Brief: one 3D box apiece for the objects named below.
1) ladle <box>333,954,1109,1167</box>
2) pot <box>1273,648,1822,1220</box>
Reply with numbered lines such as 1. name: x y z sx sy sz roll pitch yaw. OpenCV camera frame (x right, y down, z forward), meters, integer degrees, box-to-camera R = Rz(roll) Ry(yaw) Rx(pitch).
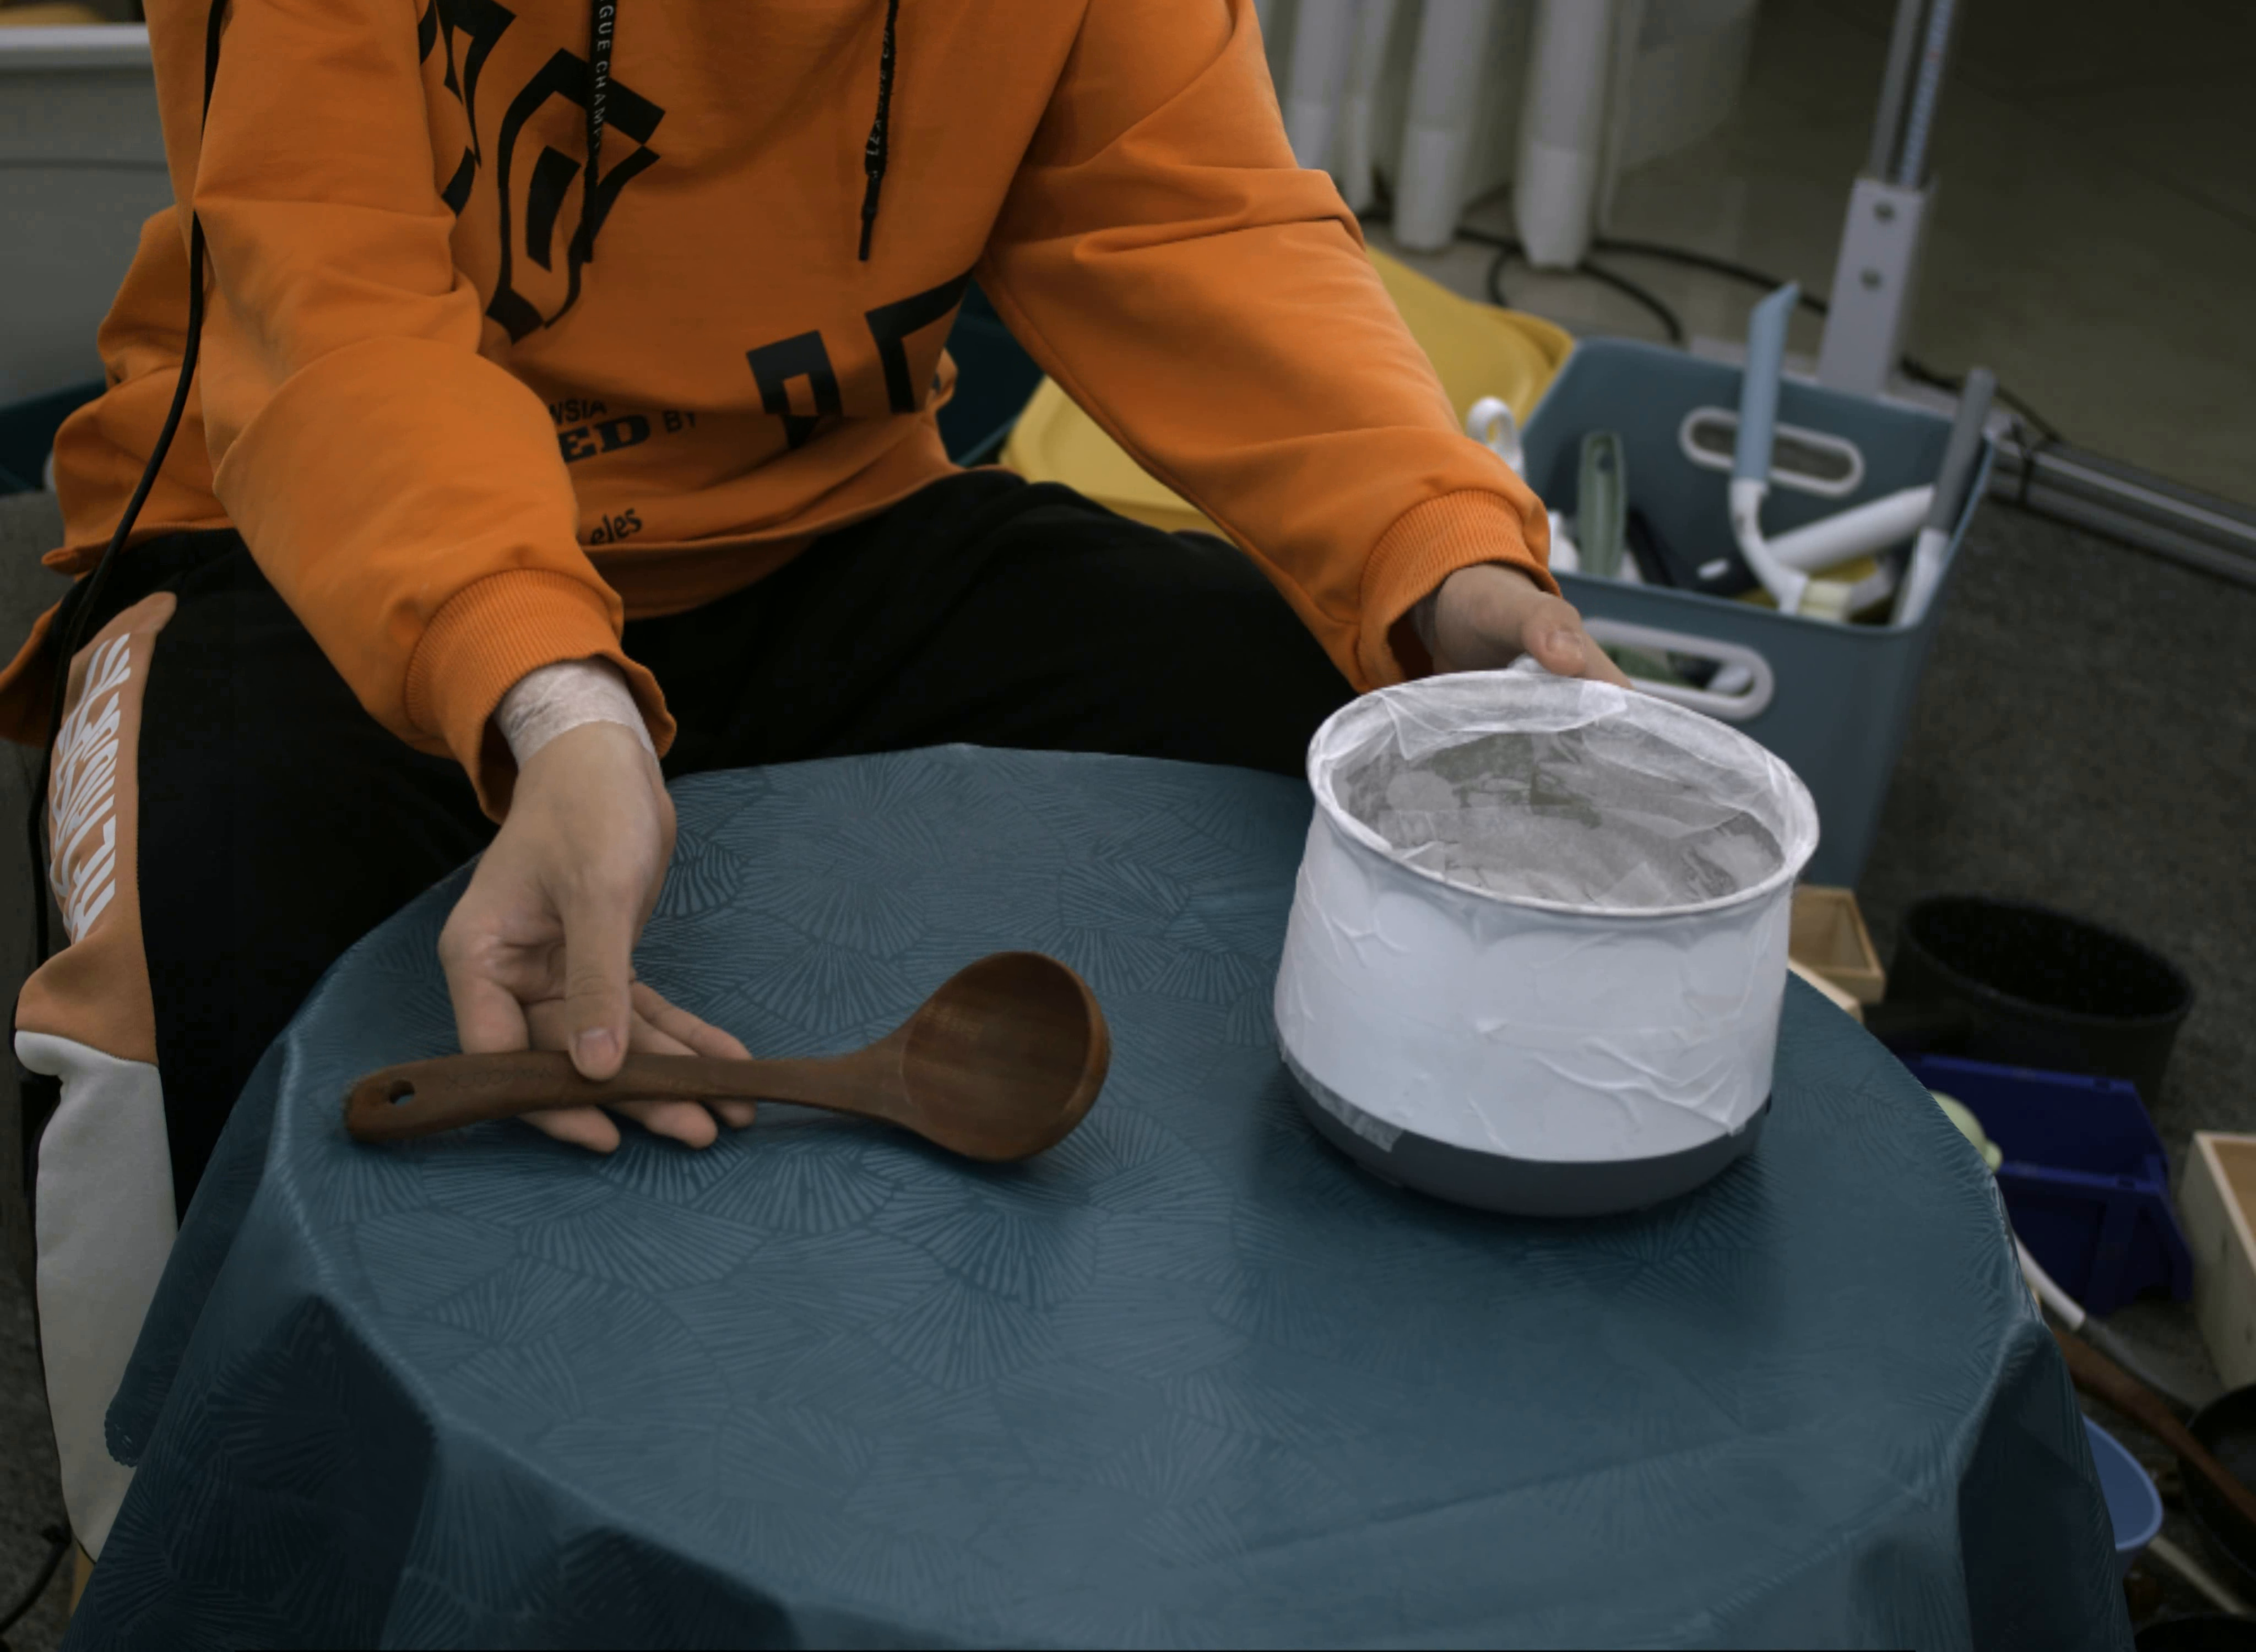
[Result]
1. ladle: -0.135 0.081 1.789 0.259 0.065 0.077 0 55 -14
2. pot: 0.141 0.030 1.866 0.178 0.136 0.235 5 27 -4
